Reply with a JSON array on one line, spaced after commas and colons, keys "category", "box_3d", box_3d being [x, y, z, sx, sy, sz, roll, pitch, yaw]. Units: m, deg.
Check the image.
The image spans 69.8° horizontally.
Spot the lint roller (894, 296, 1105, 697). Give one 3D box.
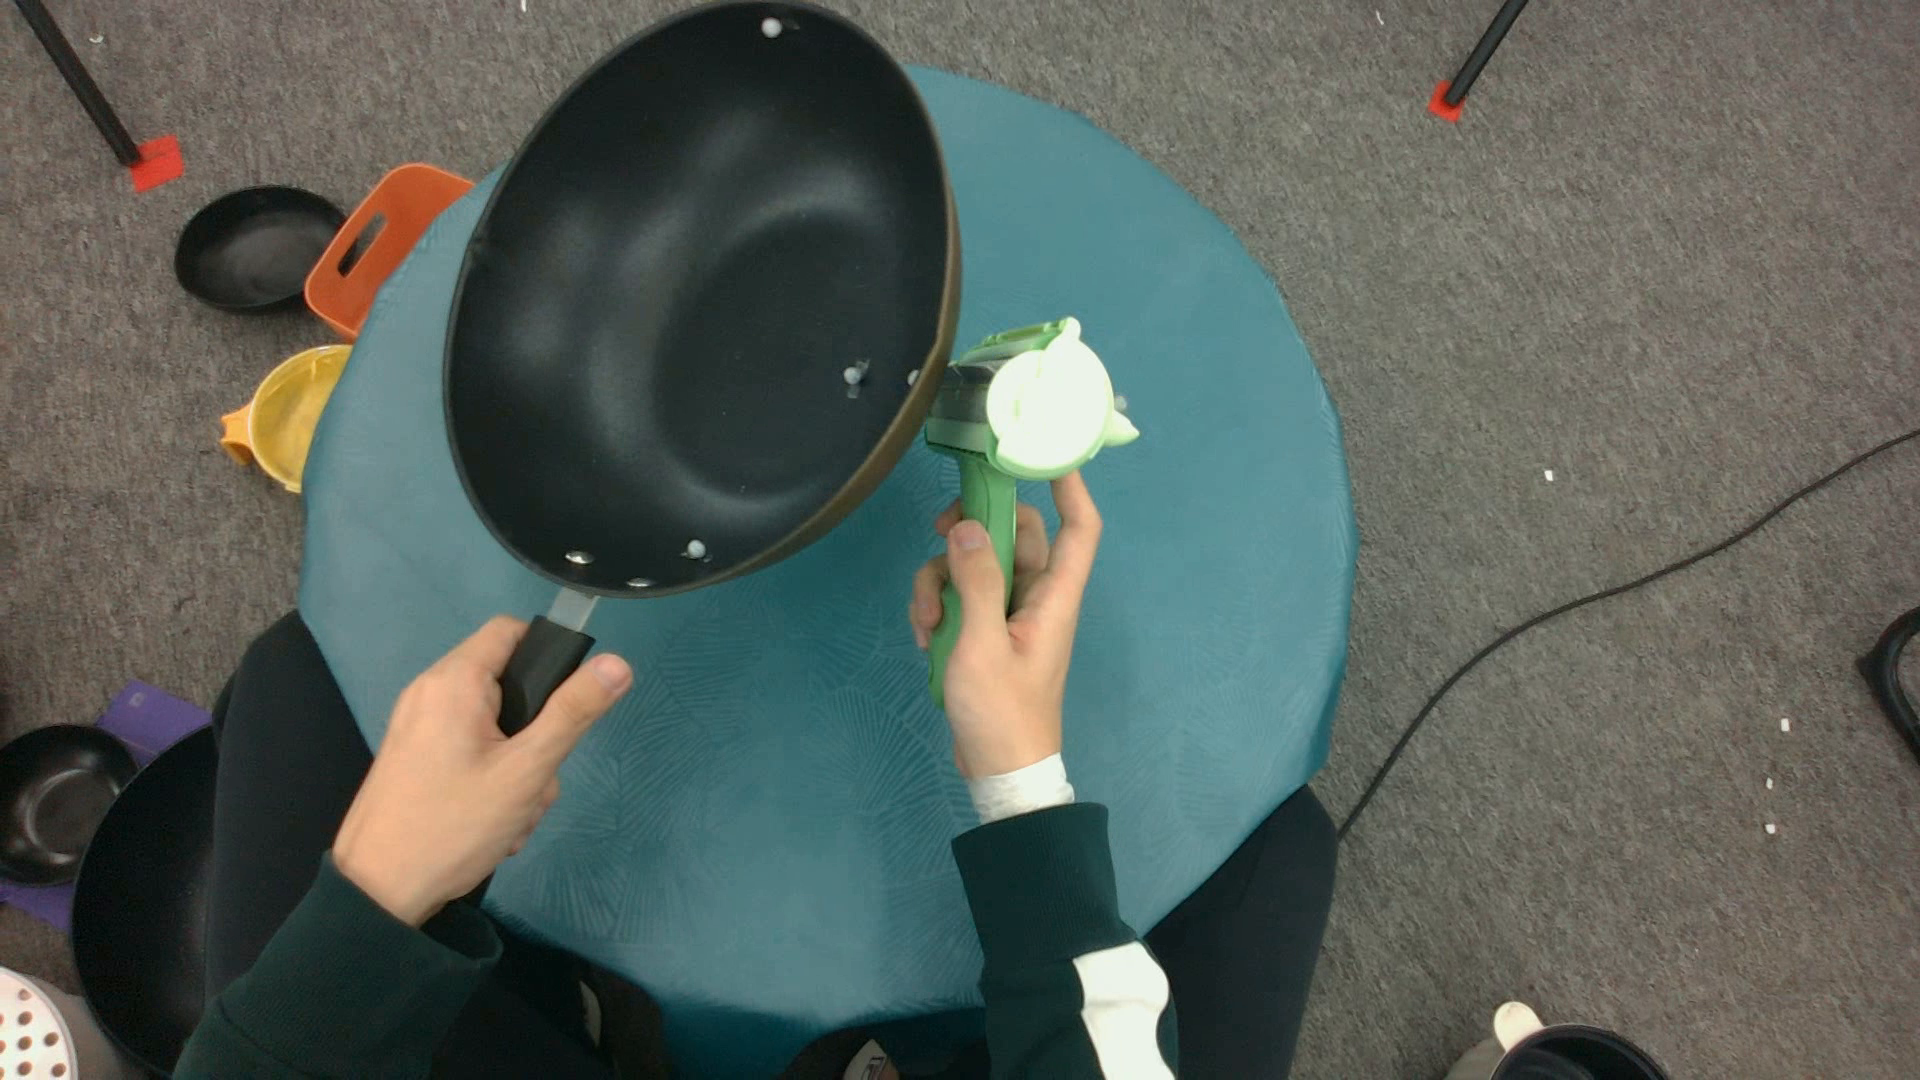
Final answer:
[{"category": "lint roller", "box_3d": [0.013, -0.018, 0.647, 0.082, 0.198, 0.183, -3, 98, -10]}]

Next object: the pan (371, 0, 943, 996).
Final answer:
[{"category": "pan", "box_3d": [-0.148, -0.019, 0.629, 0.288, 0.087, 0.463, 16, 85, 30]}]
